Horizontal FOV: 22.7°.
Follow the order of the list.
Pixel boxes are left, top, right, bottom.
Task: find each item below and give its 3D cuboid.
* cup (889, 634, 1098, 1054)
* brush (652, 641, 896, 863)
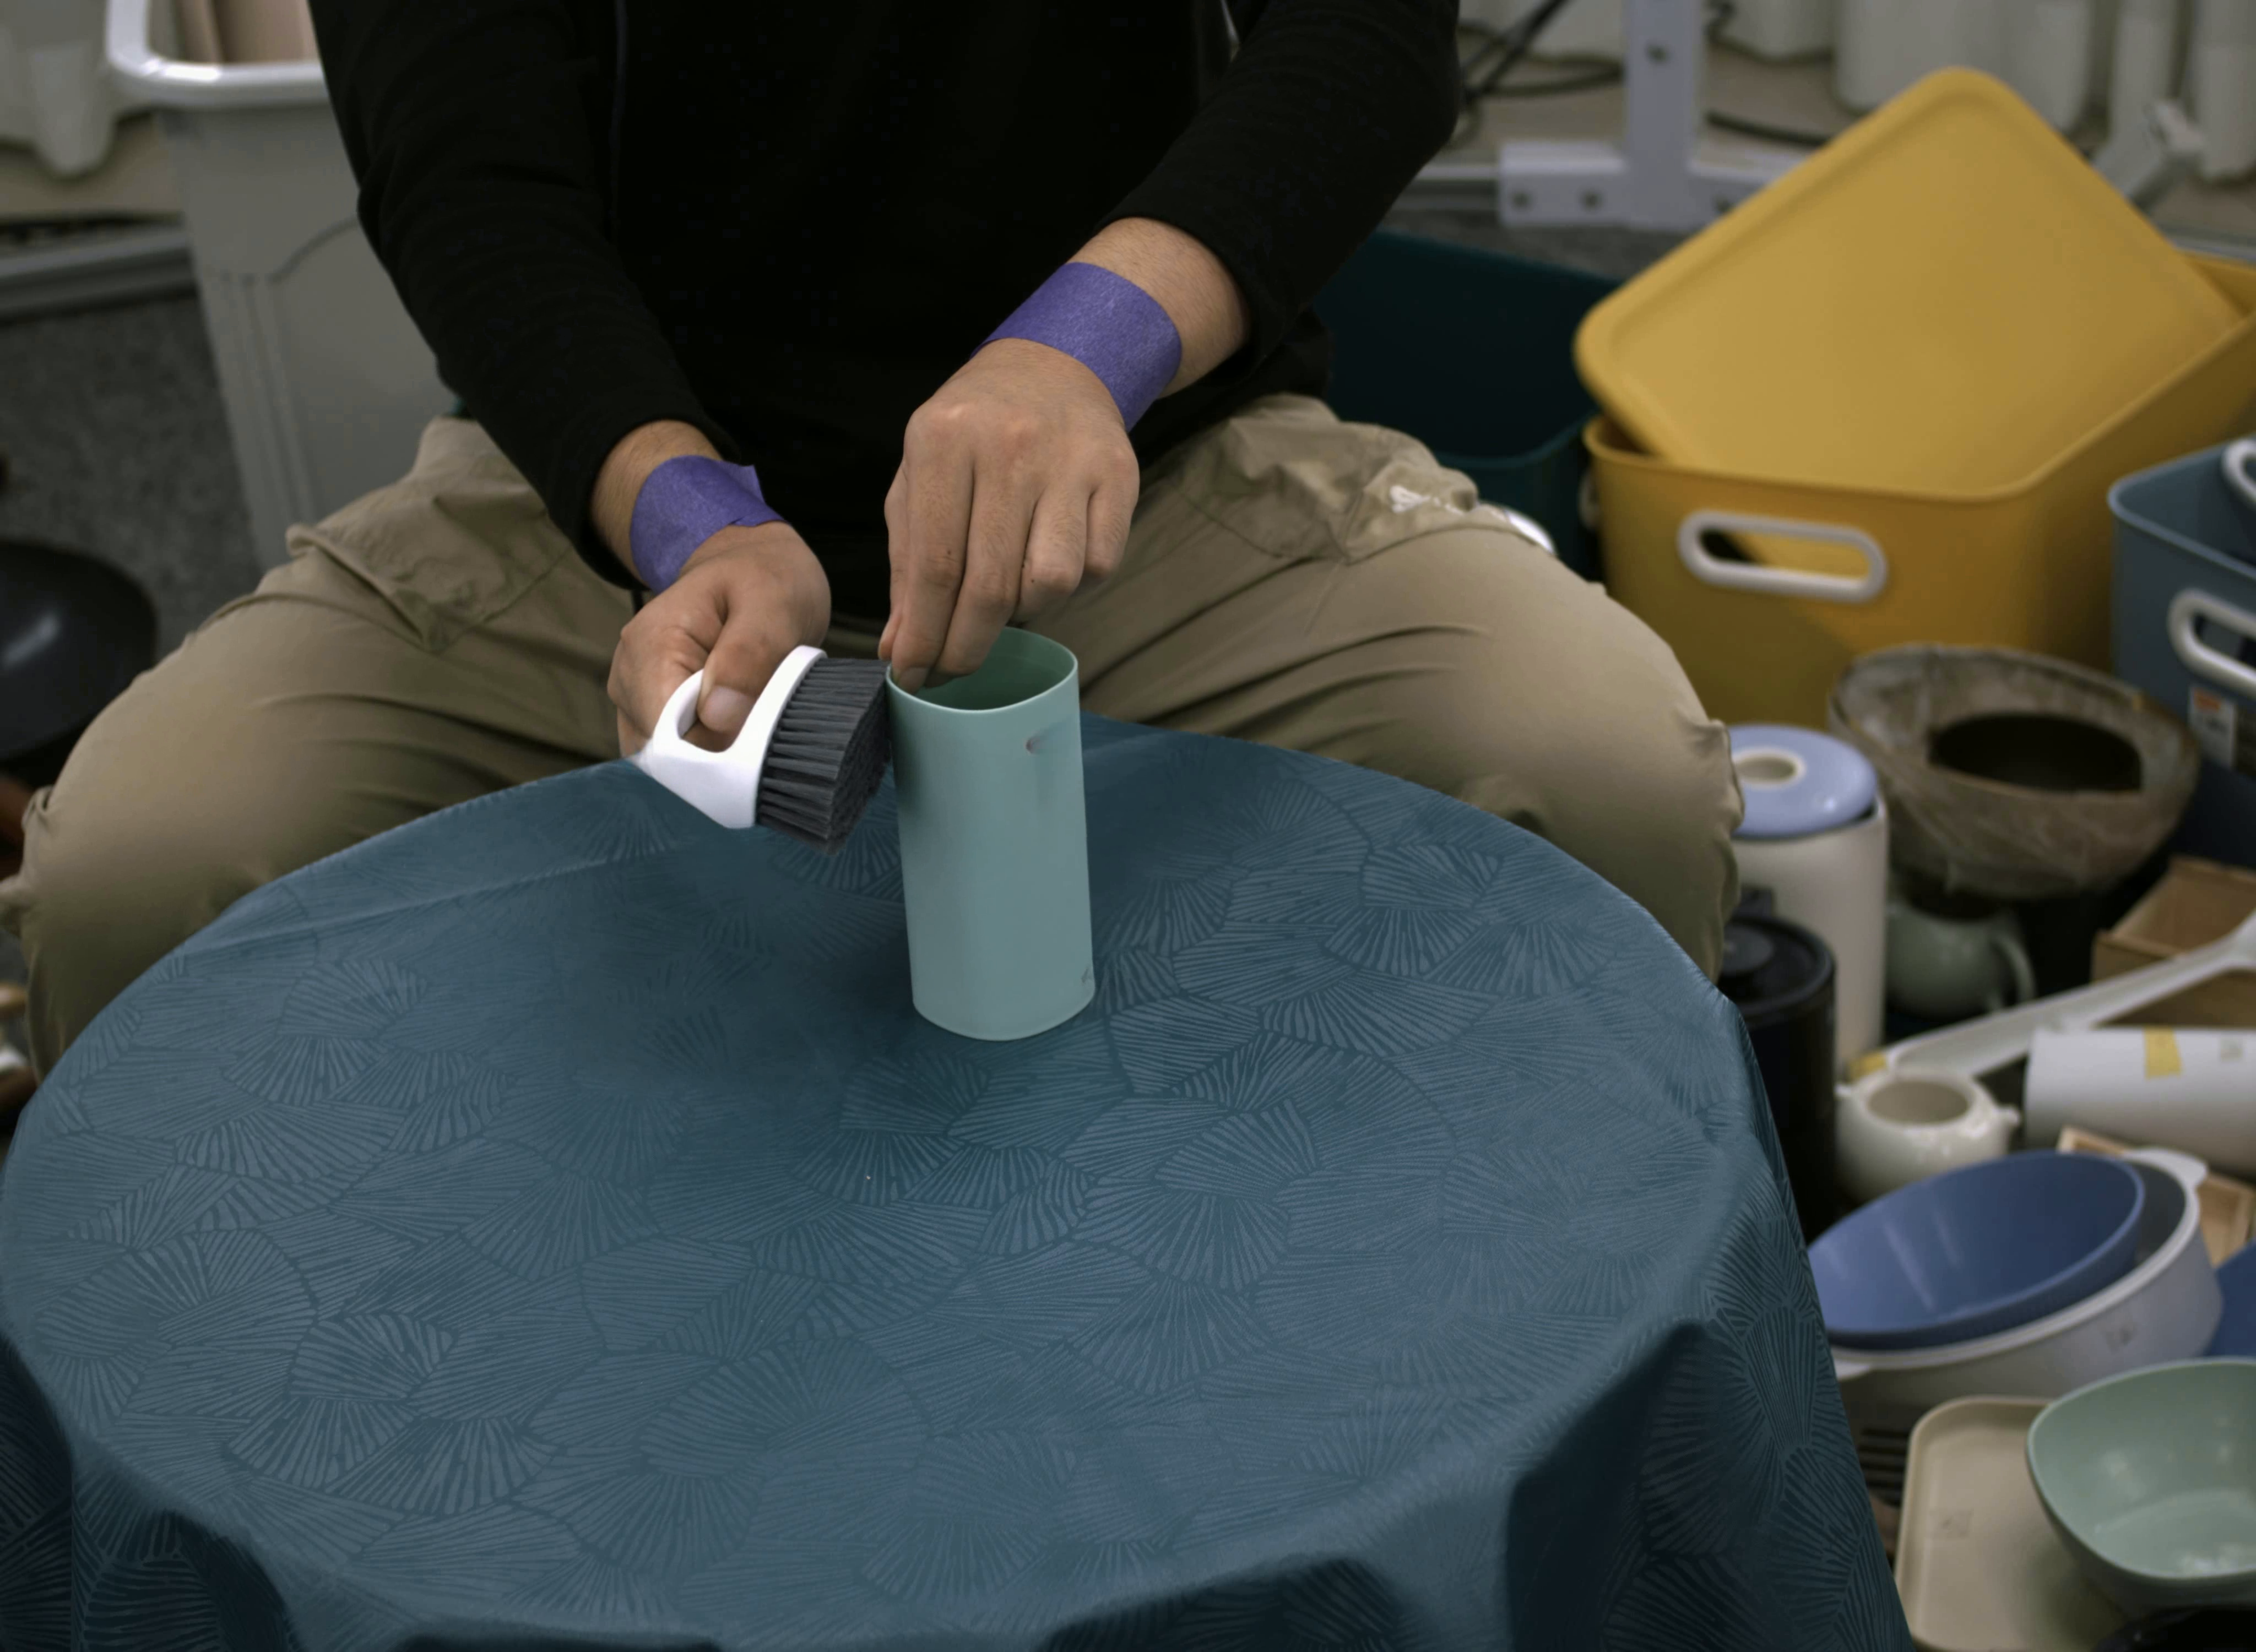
[{"bbox_3d":[-0.047,0.007,1.956,0.066,0.131,0.068,-2,27,2],"label":"cup"},{"bbox_3d":[-0.124,-0.030,1.920,0.072,0.049,0.101,12,29,7],"label":"brush"}]
